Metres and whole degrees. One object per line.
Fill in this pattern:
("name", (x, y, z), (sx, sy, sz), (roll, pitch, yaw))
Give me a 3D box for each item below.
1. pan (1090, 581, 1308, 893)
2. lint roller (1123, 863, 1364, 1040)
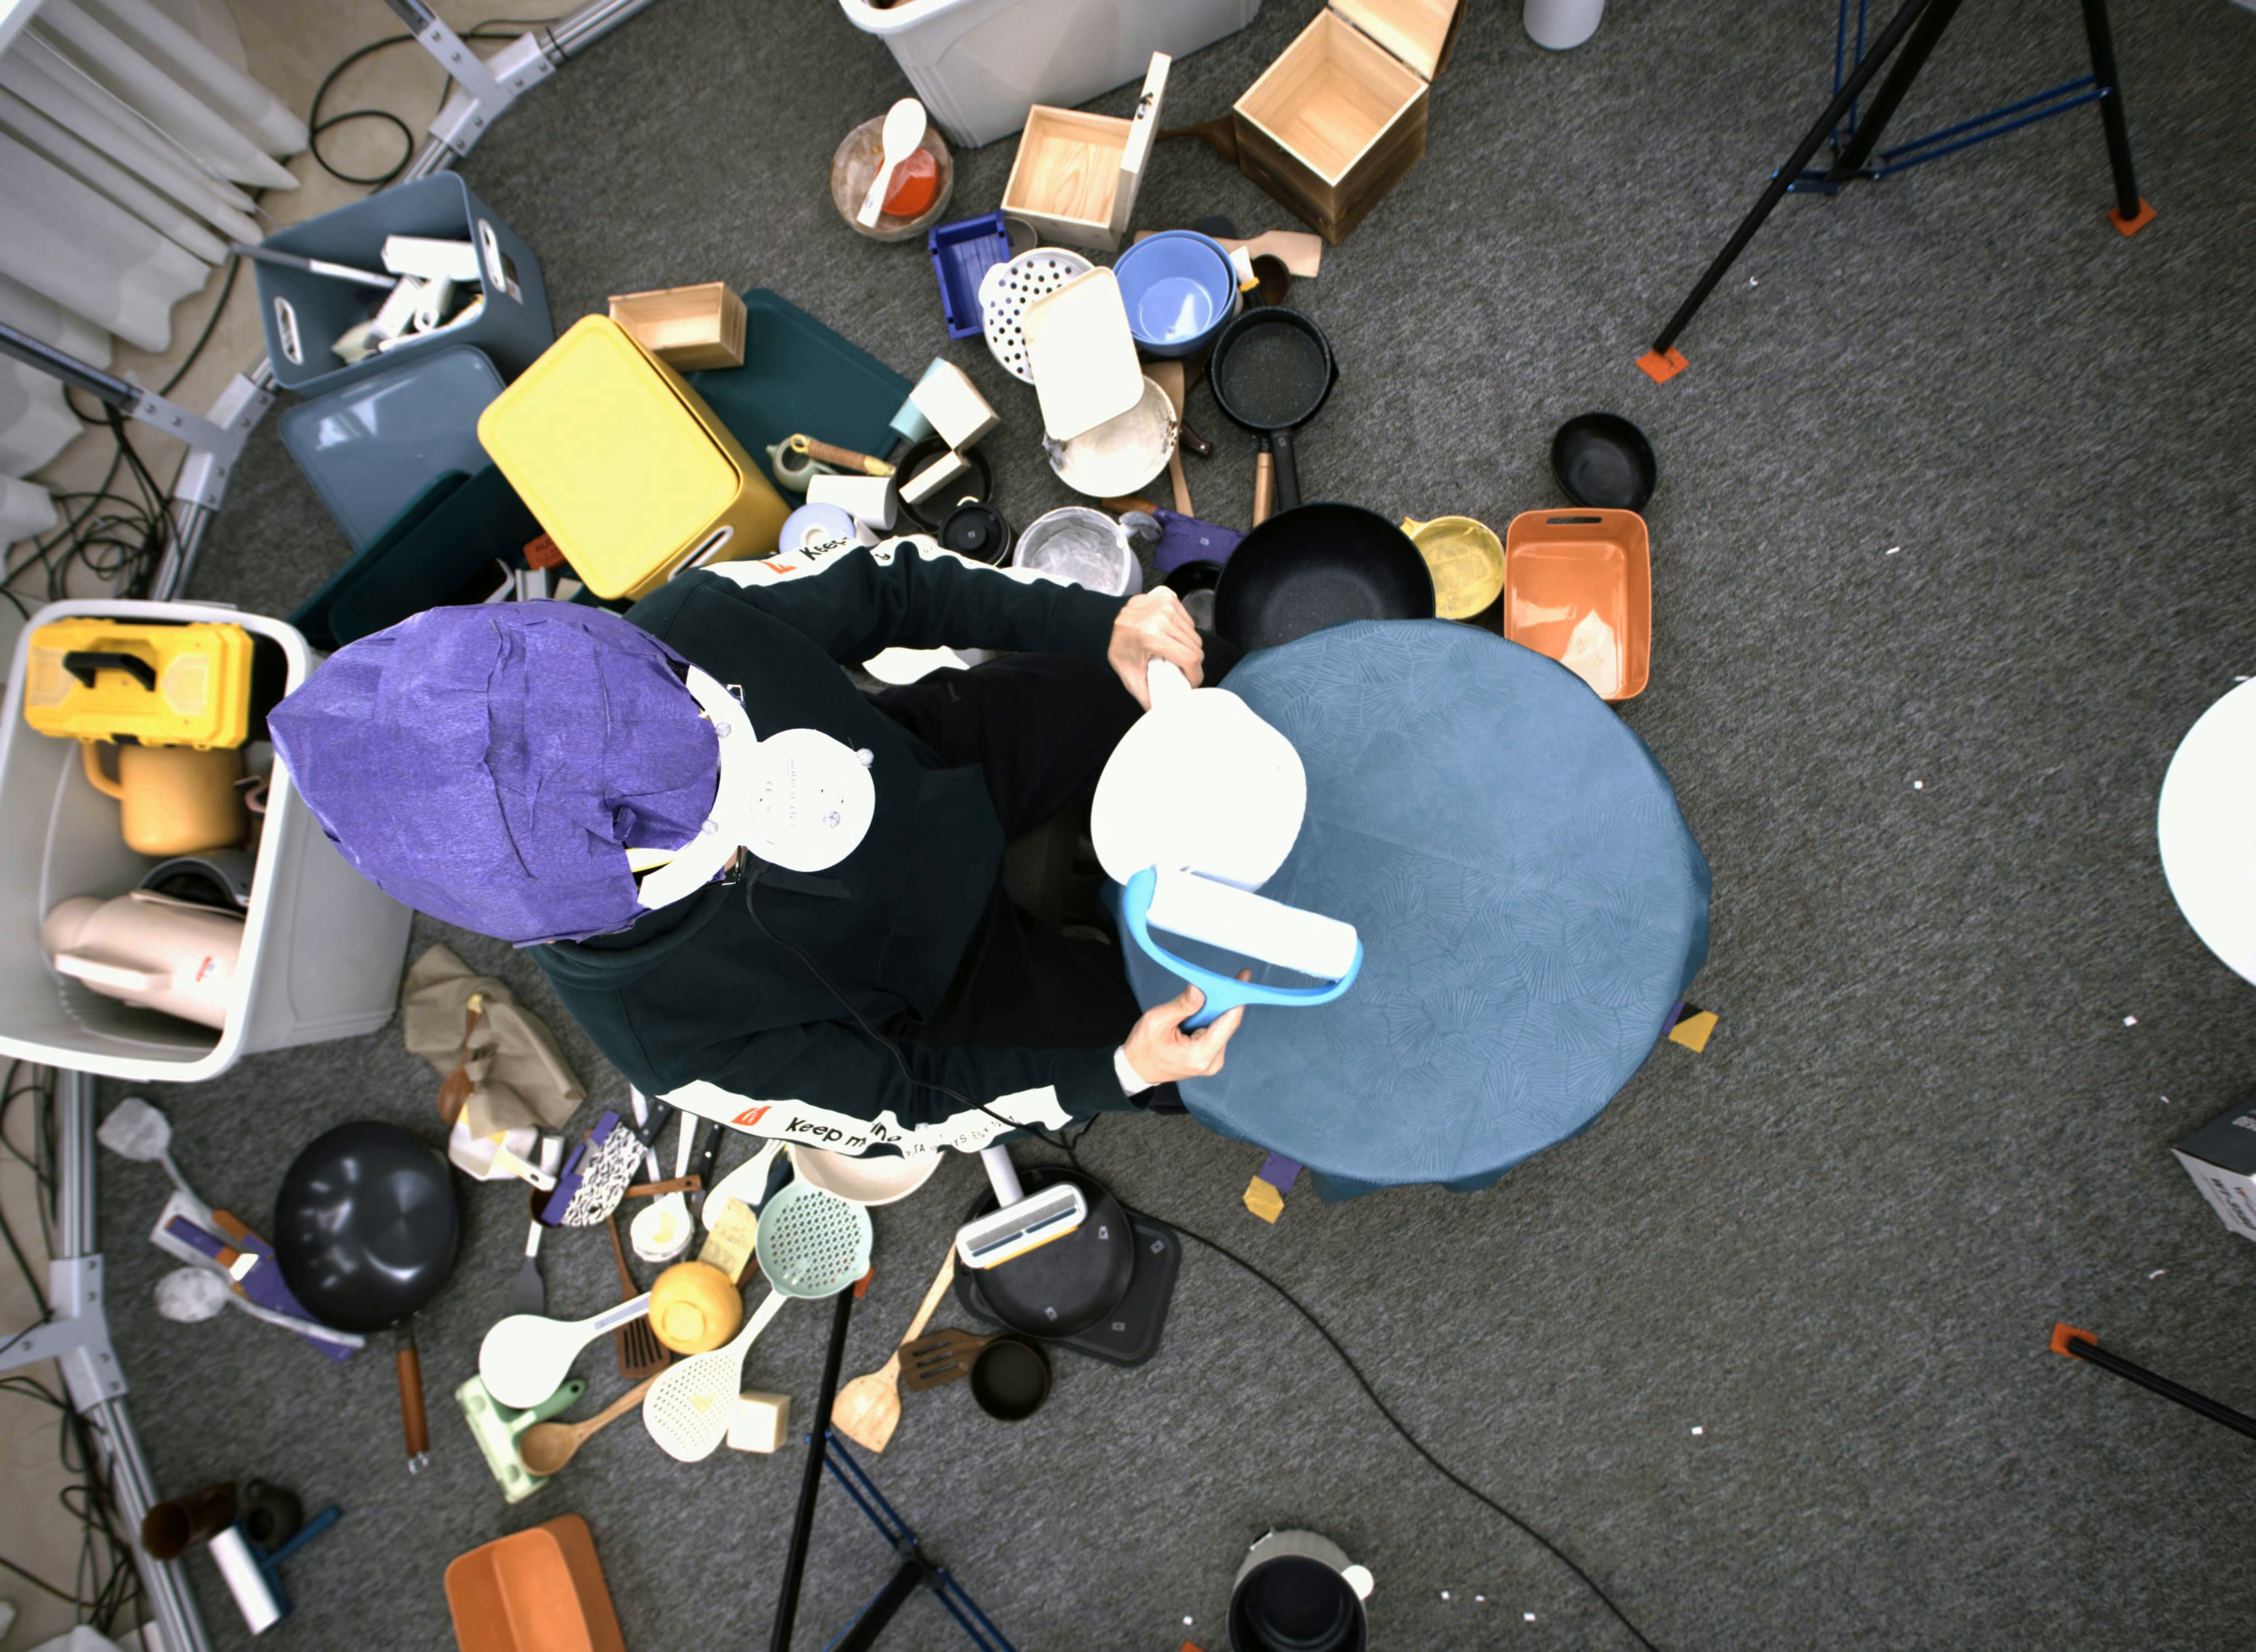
("pan", (0.065, -0.083, 1.329), (0.205, 0.103, 0.346), (-30, 48, 31))
("lint roller", (0.082, 0.134, 1.230), (0.229, 0.066, 0.184), (15, 117, -17))
